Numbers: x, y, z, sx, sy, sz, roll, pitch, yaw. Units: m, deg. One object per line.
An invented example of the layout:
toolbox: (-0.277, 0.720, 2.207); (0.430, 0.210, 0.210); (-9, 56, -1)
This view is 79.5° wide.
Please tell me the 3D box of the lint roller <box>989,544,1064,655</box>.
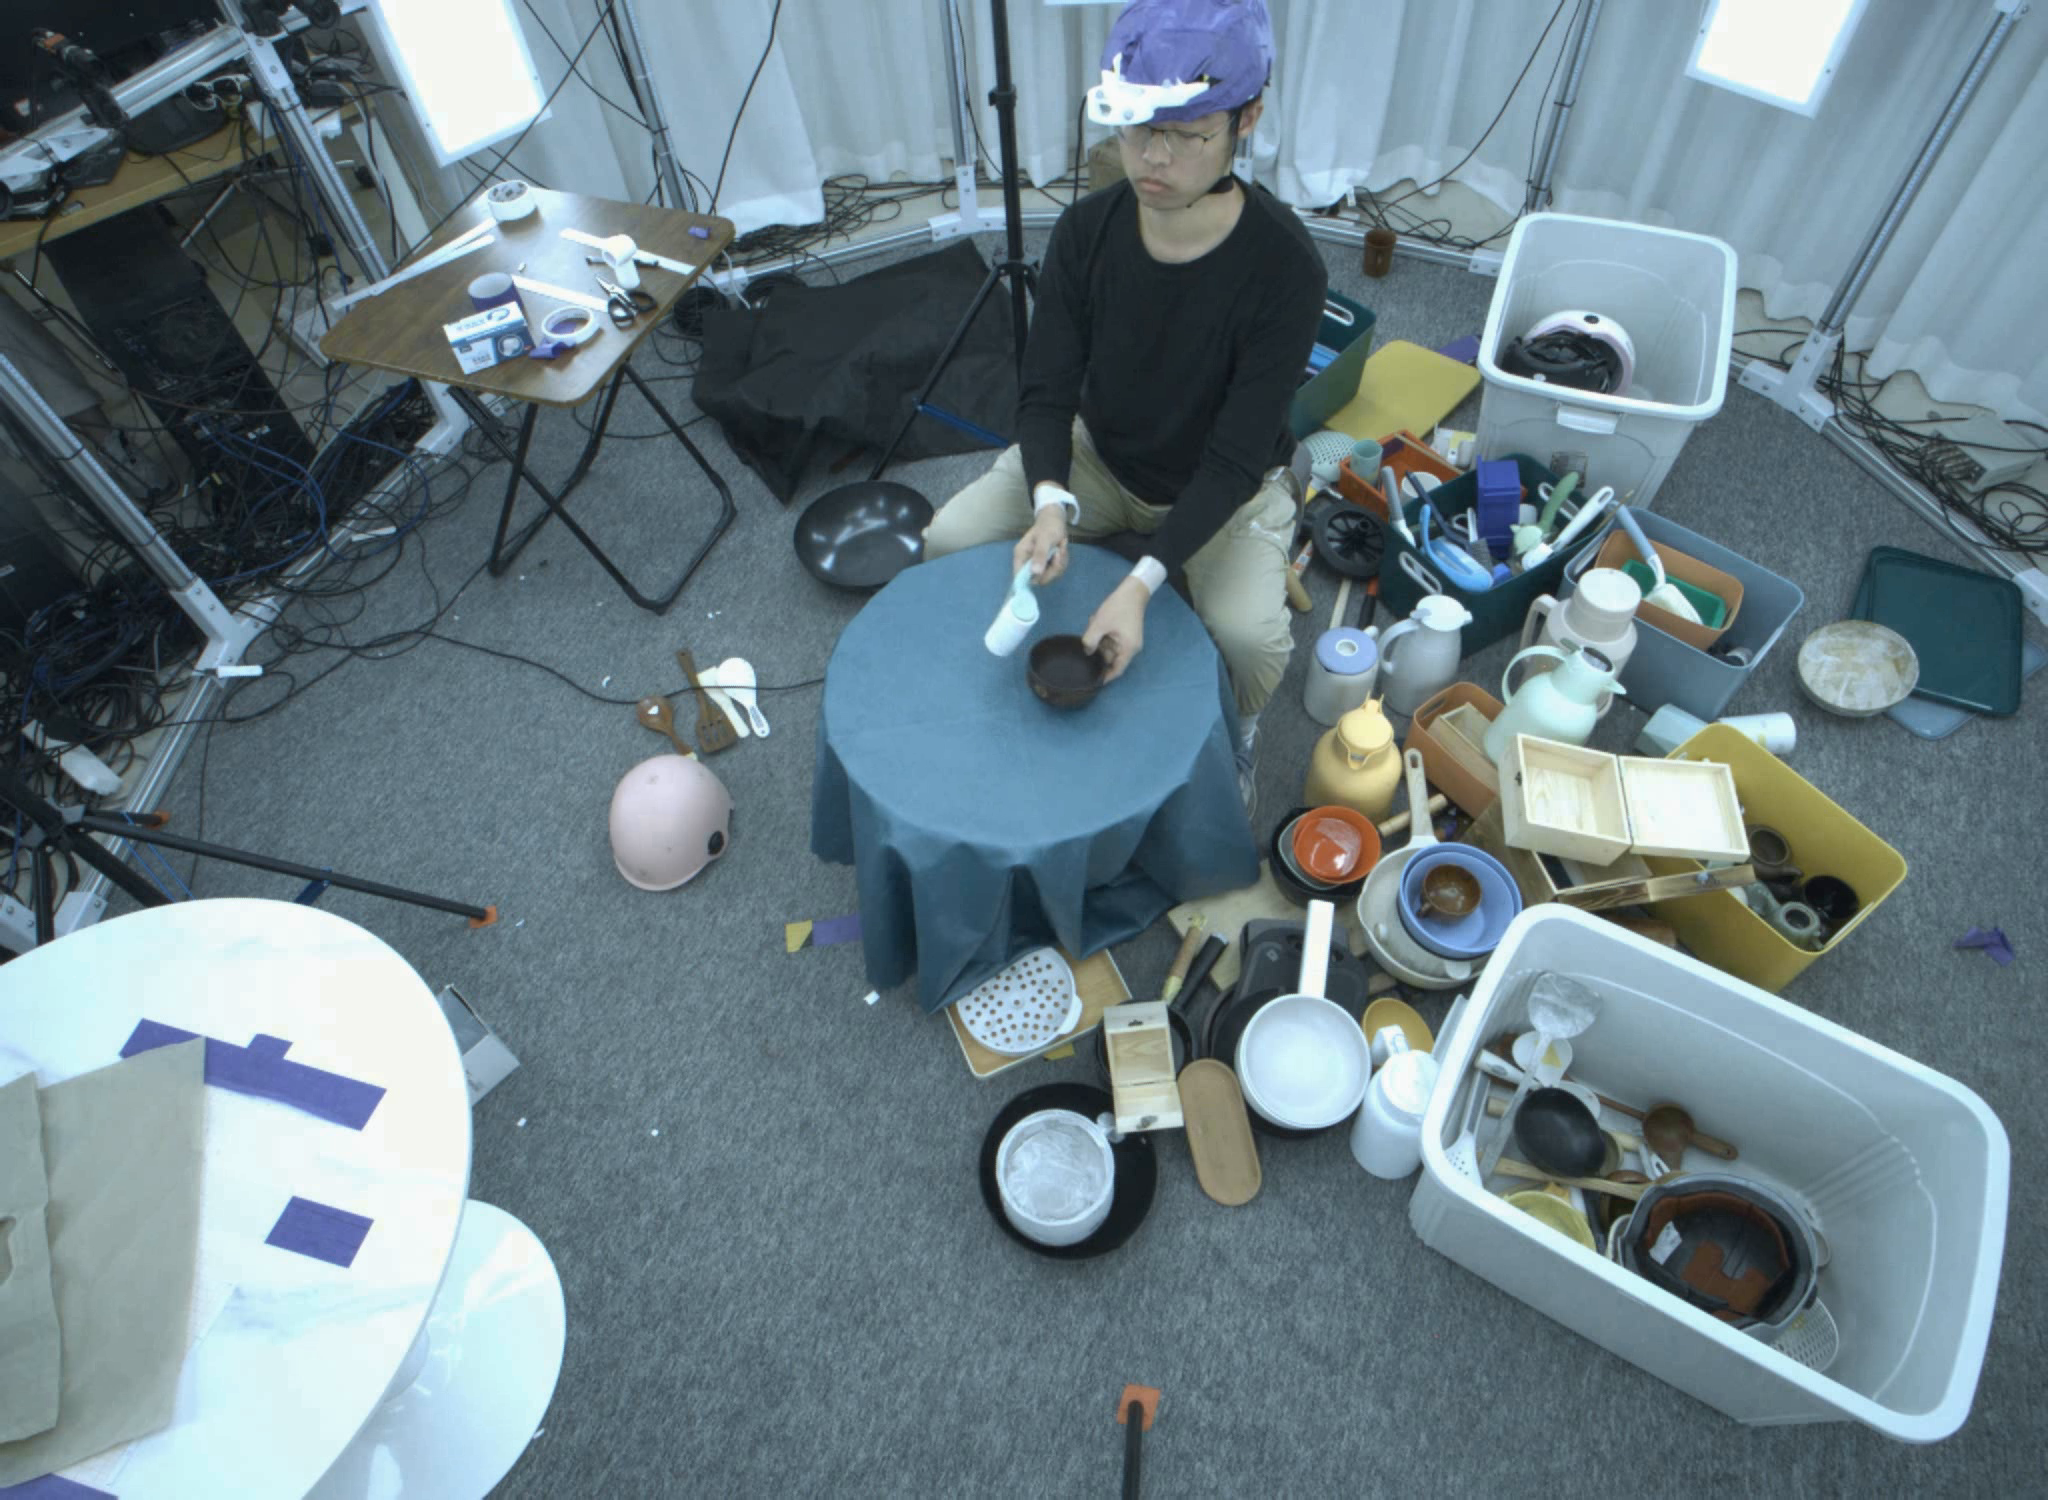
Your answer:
lint roller: (0.009, -0.240, 1.815); (0.049, 0.116, 0.197); (26, 59, -8)

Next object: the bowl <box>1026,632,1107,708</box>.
bowl: (0.061, -0.109, 1.815); (0.118, 0.070, 0.117); (3, 51, -3)
